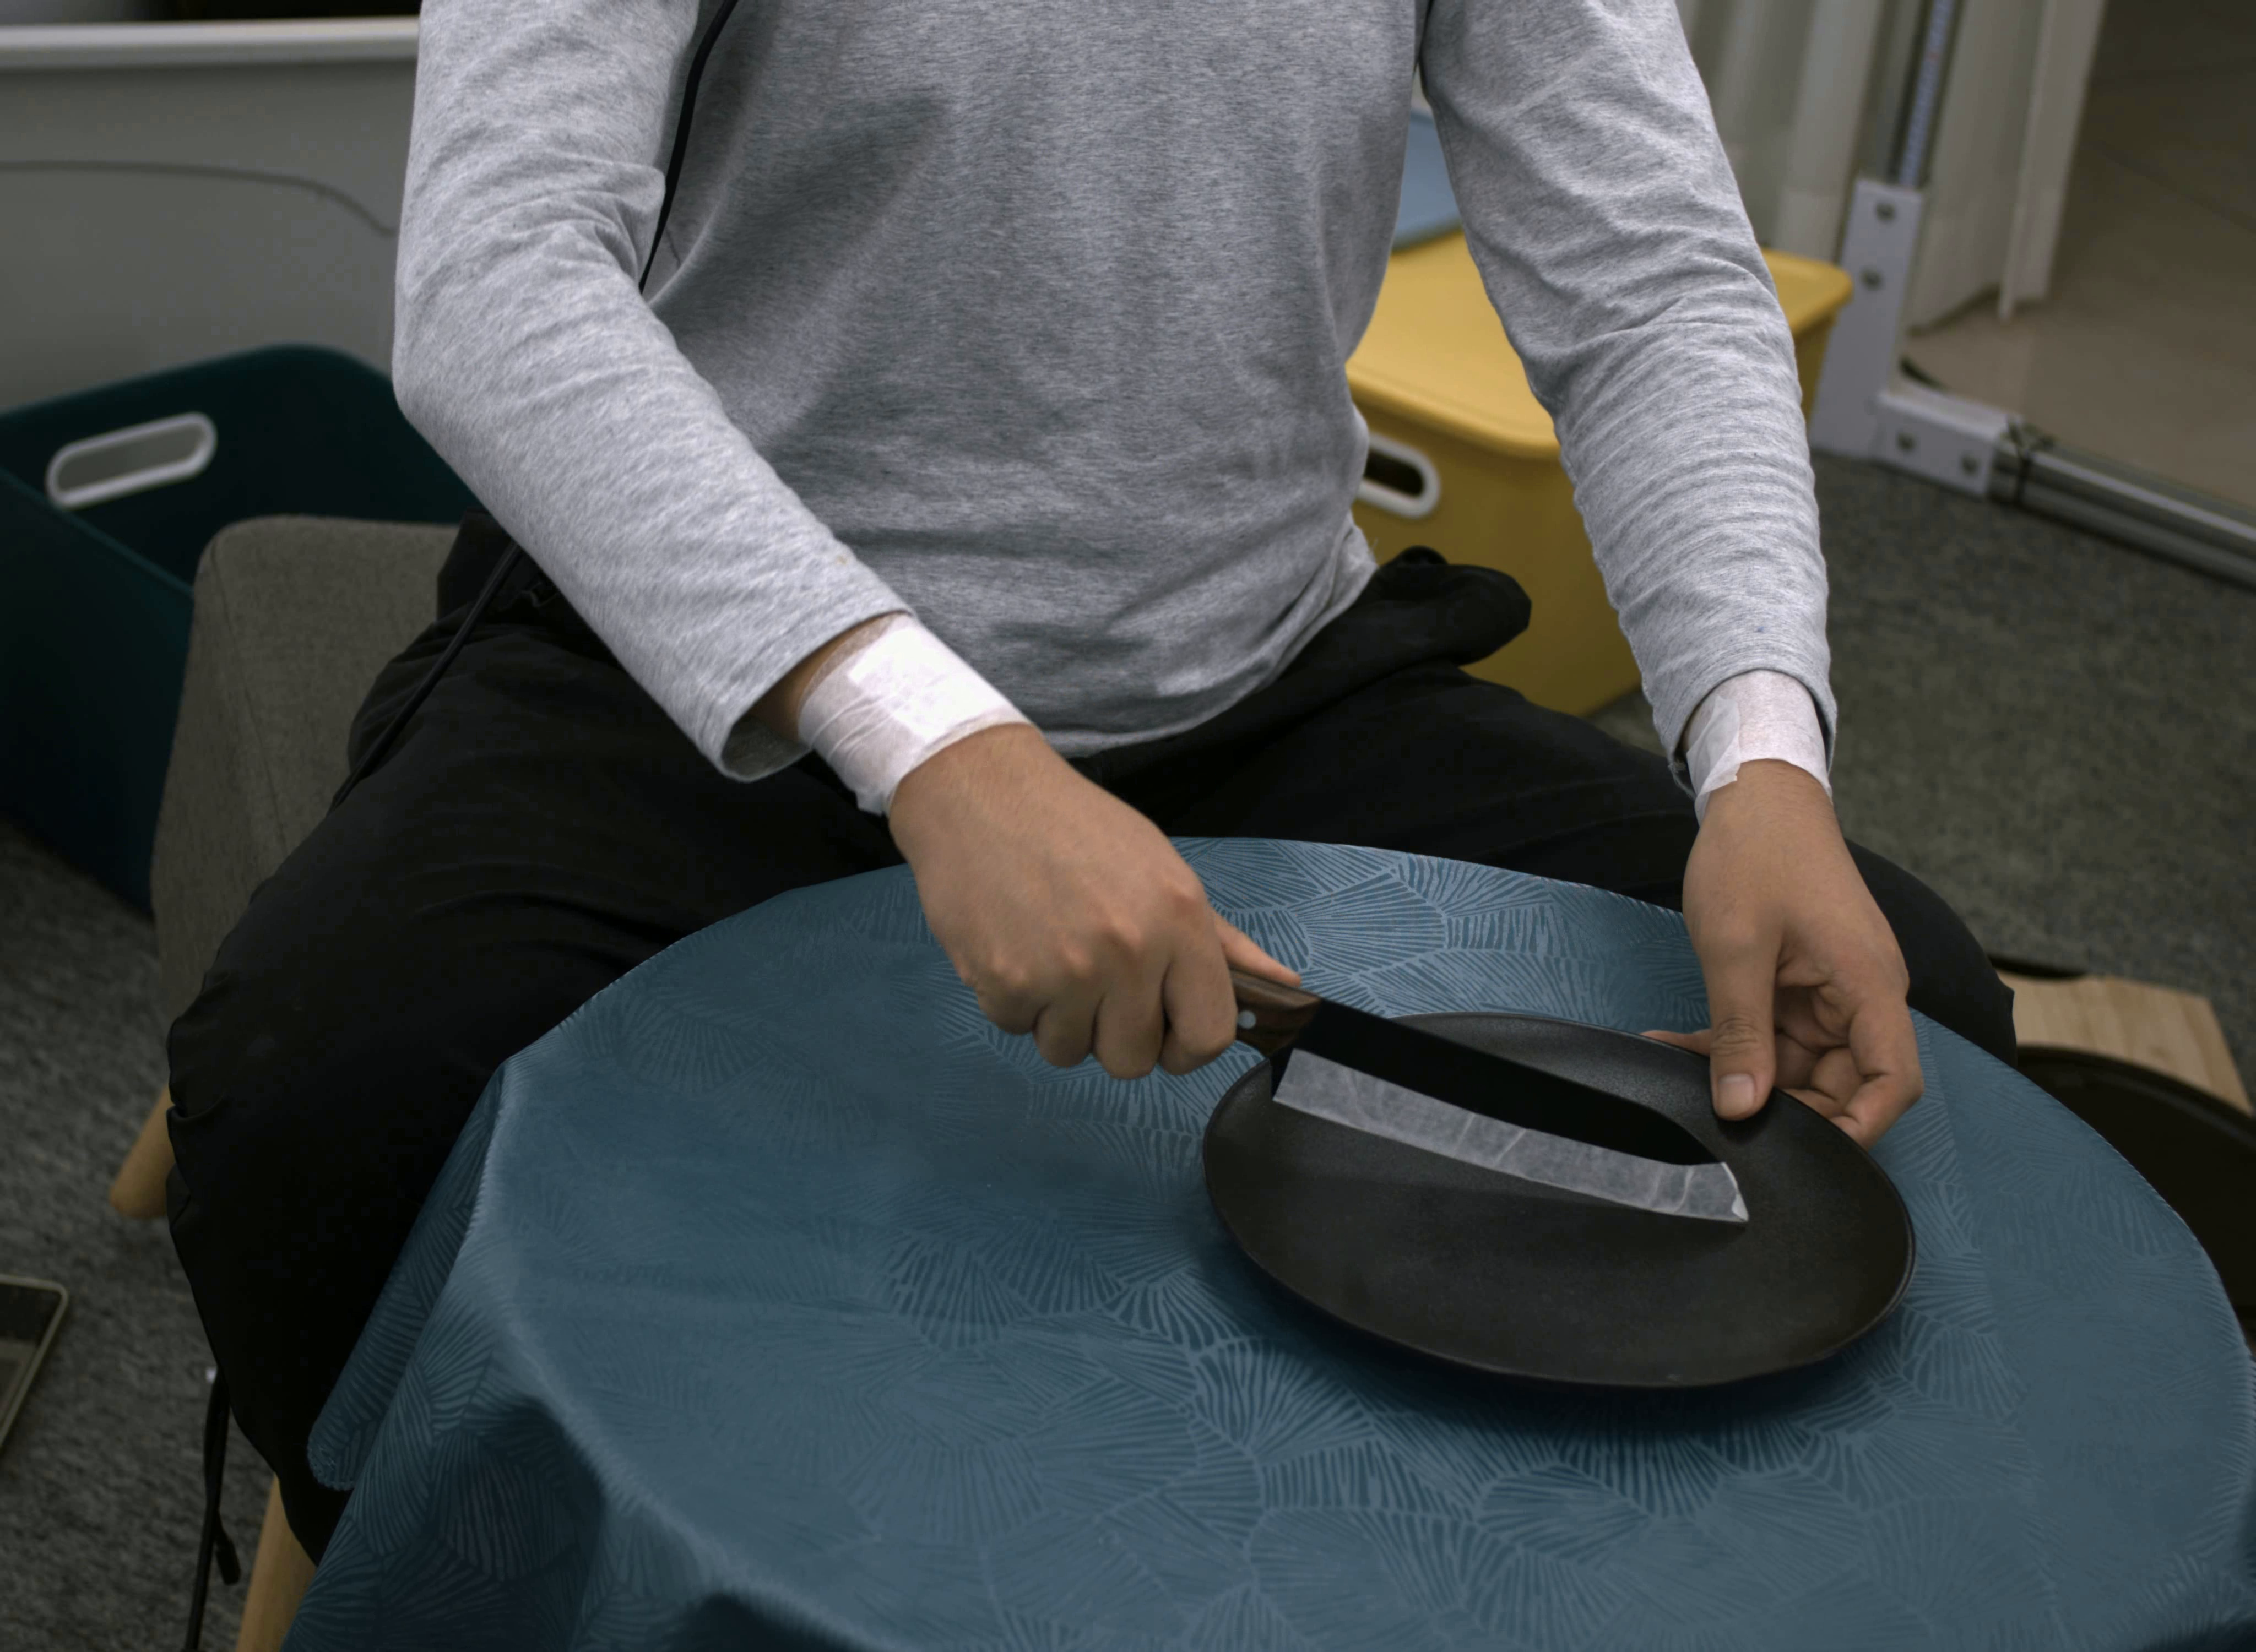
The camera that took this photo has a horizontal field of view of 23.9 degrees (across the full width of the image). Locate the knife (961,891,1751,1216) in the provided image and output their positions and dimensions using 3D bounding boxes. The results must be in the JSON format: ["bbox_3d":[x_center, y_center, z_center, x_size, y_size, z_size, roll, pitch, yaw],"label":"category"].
[{"bbox_3d":[0.077,0.079,1.805,0.288,0.050,0.020,20,29,-1],"label":"knife"}]

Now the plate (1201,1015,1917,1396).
[{"bbox_3d":[0.144,0.132,1.797,0.243,0.023,0.246,5,27,-3],"label":"plate"}]
